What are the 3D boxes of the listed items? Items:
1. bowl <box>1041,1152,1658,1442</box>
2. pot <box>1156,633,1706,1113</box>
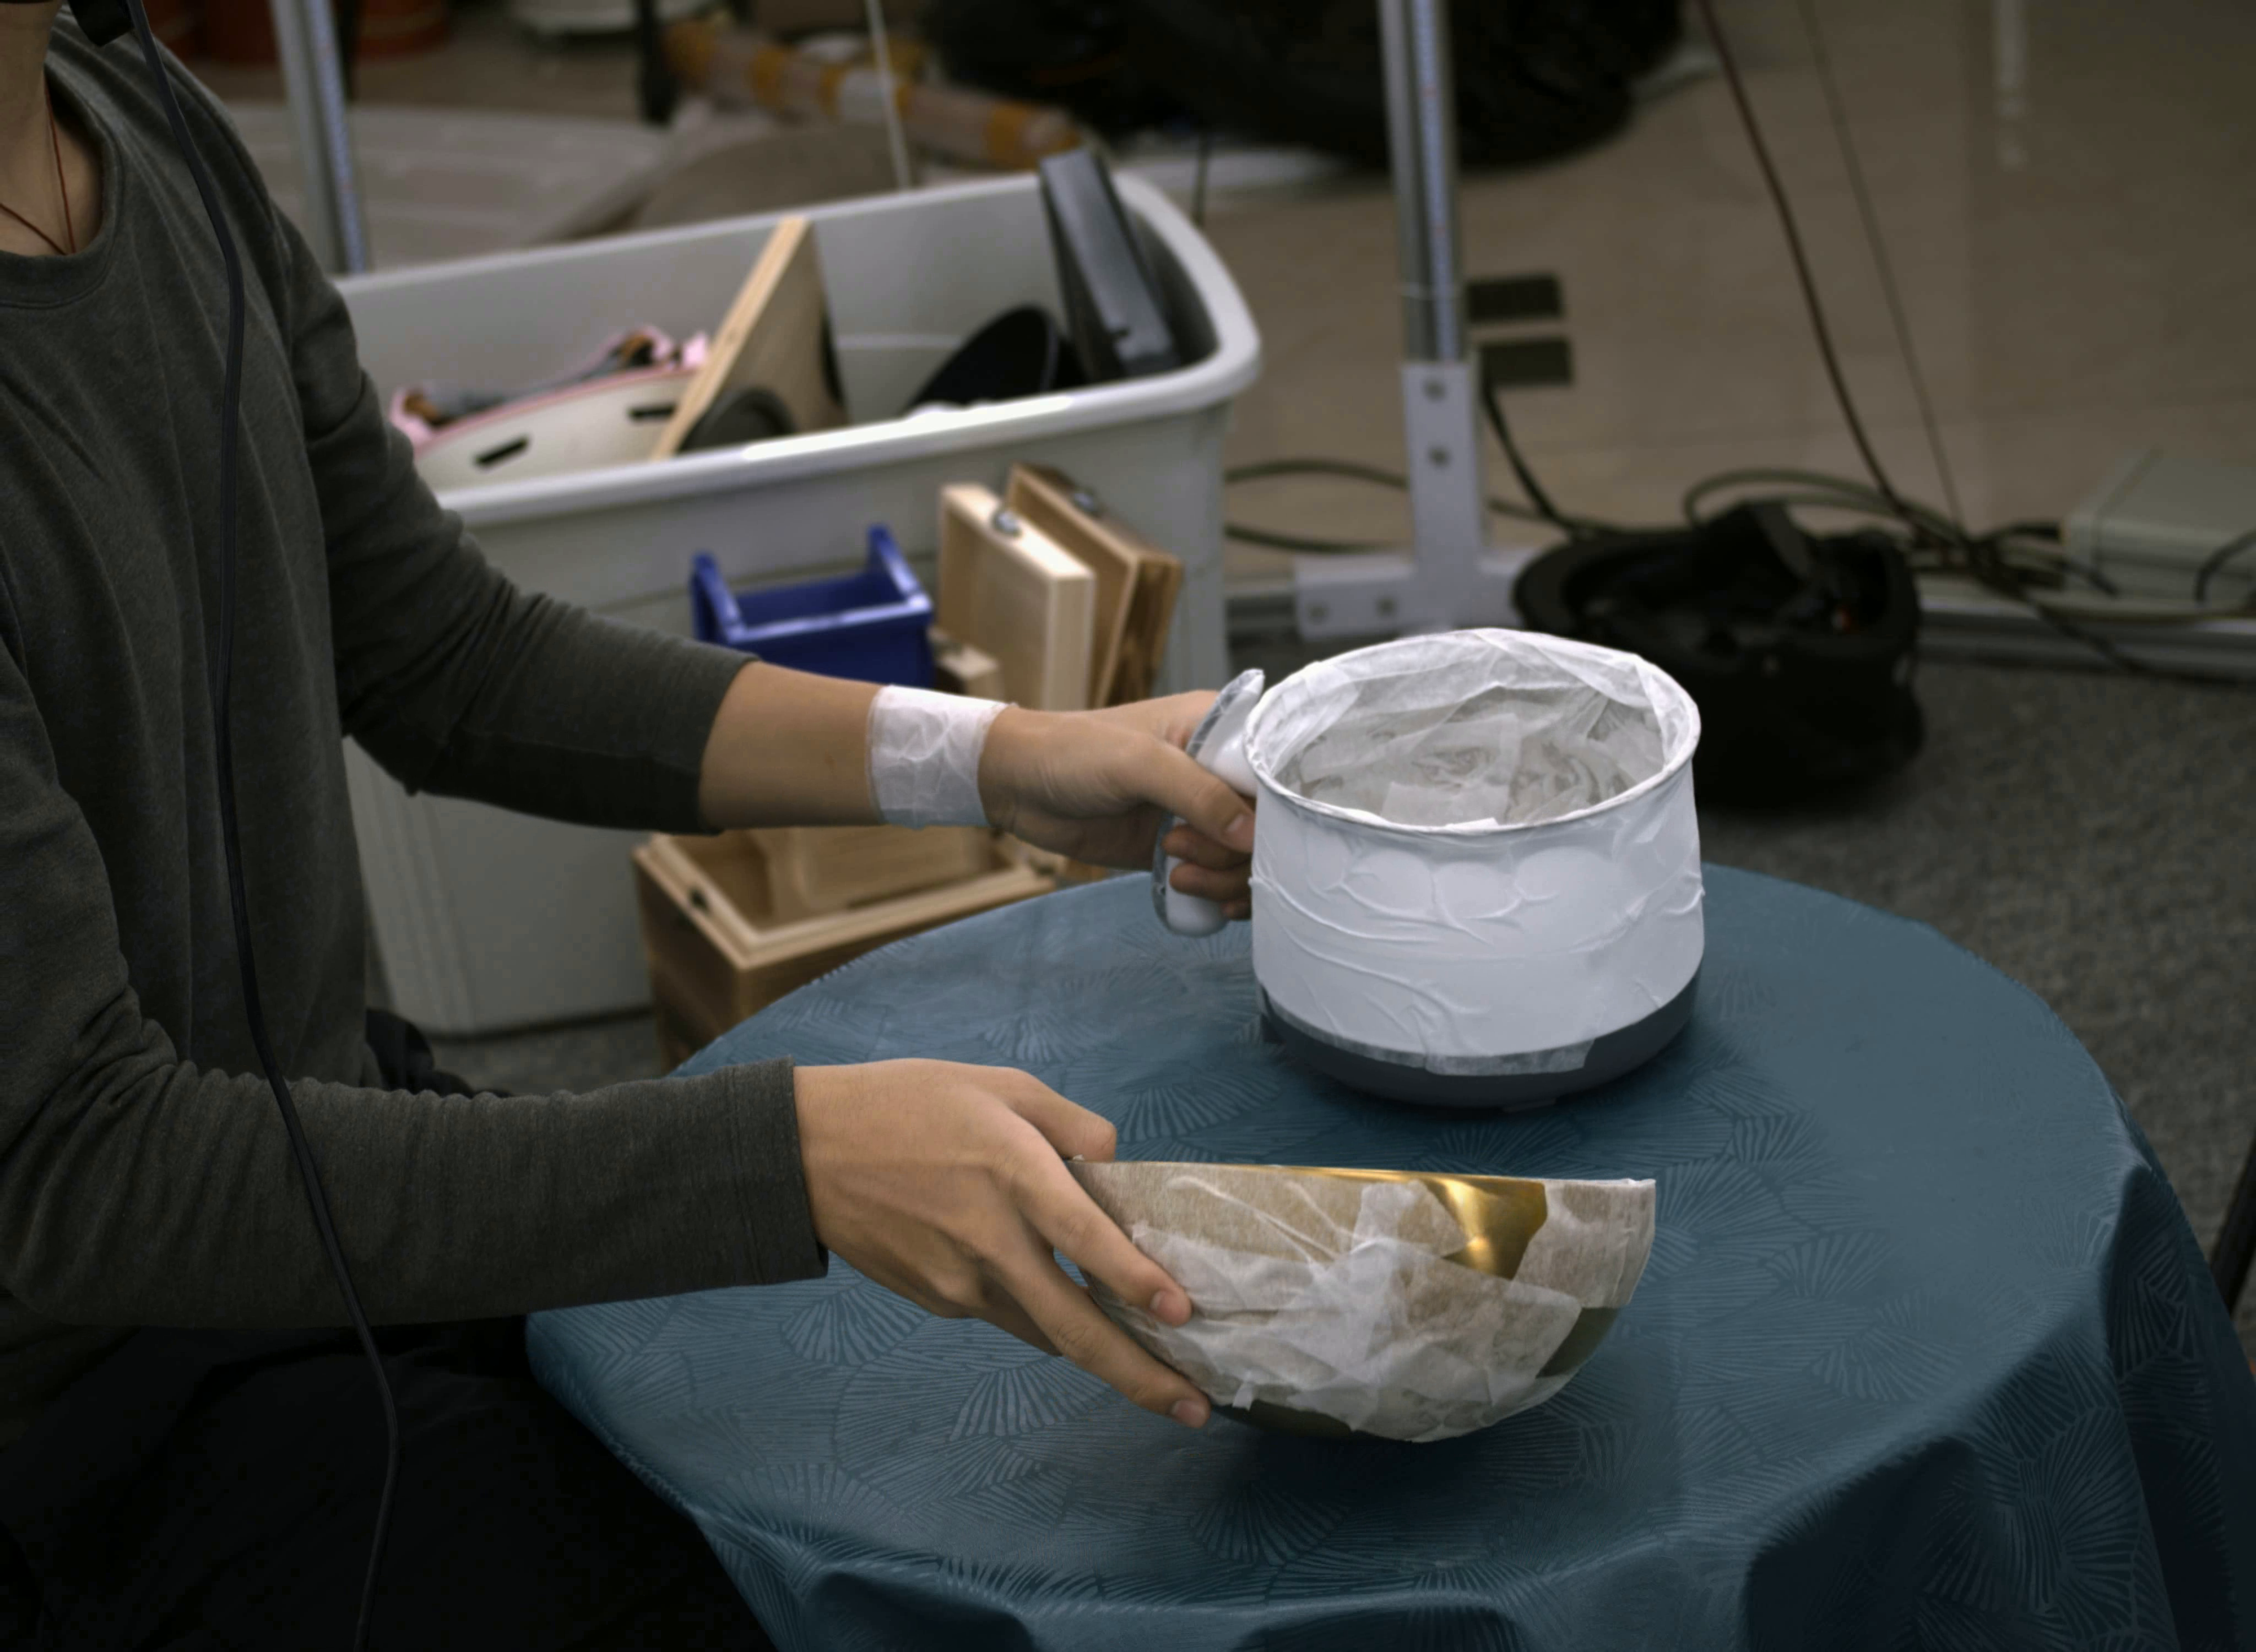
[{"bbox_3d":[0.073,0.161,1.942,0.214,0.095,0.215,2,-1,0],"label":"bowl"},{"bbox_3d":[0.112,0.014,2.219,0.232,0.139,0.176,12,31,29],"label":"pot"}]
